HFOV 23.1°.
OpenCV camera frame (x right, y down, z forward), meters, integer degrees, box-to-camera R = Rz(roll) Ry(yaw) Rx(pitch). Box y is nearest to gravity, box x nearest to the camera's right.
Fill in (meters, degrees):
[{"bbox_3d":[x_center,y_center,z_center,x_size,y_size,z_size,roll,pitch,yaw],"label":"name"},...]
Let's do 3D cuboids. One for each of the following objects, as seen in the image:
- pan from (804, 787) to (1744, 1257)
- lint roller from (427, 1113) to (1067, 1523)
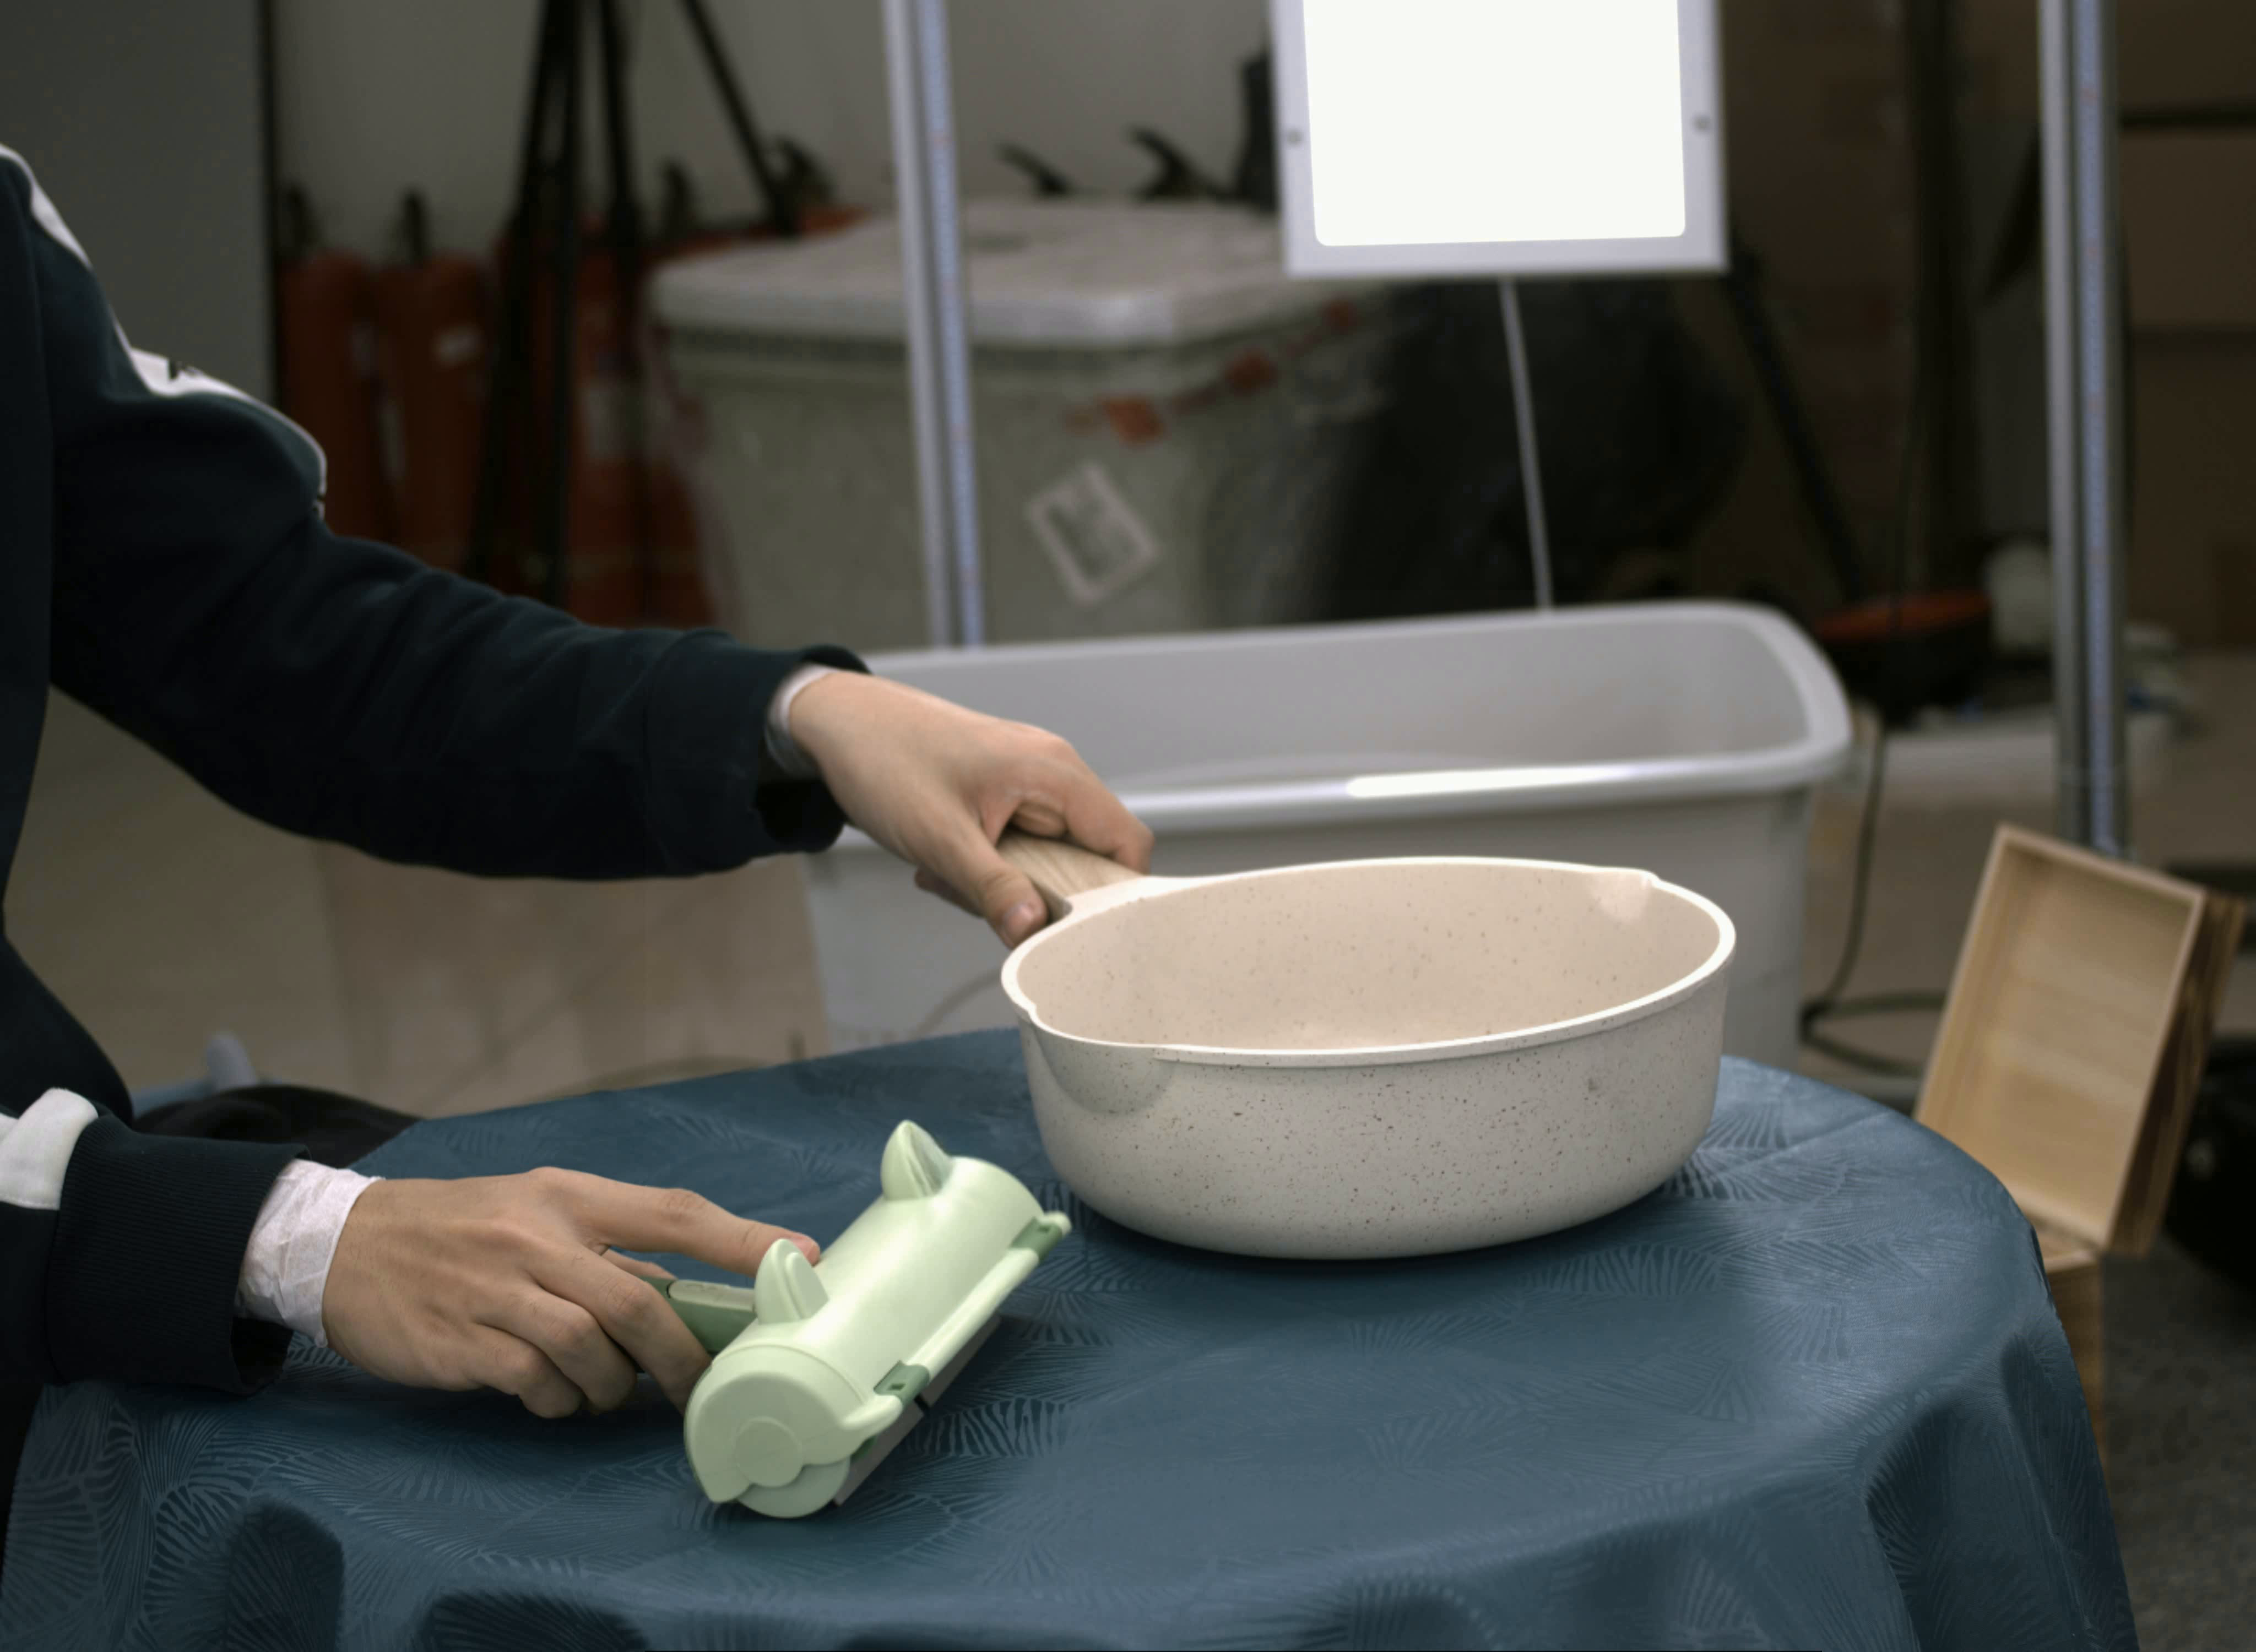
[{"bbox_3d":[0.029,0.060,1.948,0.257,0.102,0.444,-17,17,-36],"label":"pan"},{"bbox_3d":[-0.131,0.139,1.707,0.185,0.082,0.195,8,18,16],"label":"lint roller"}]
